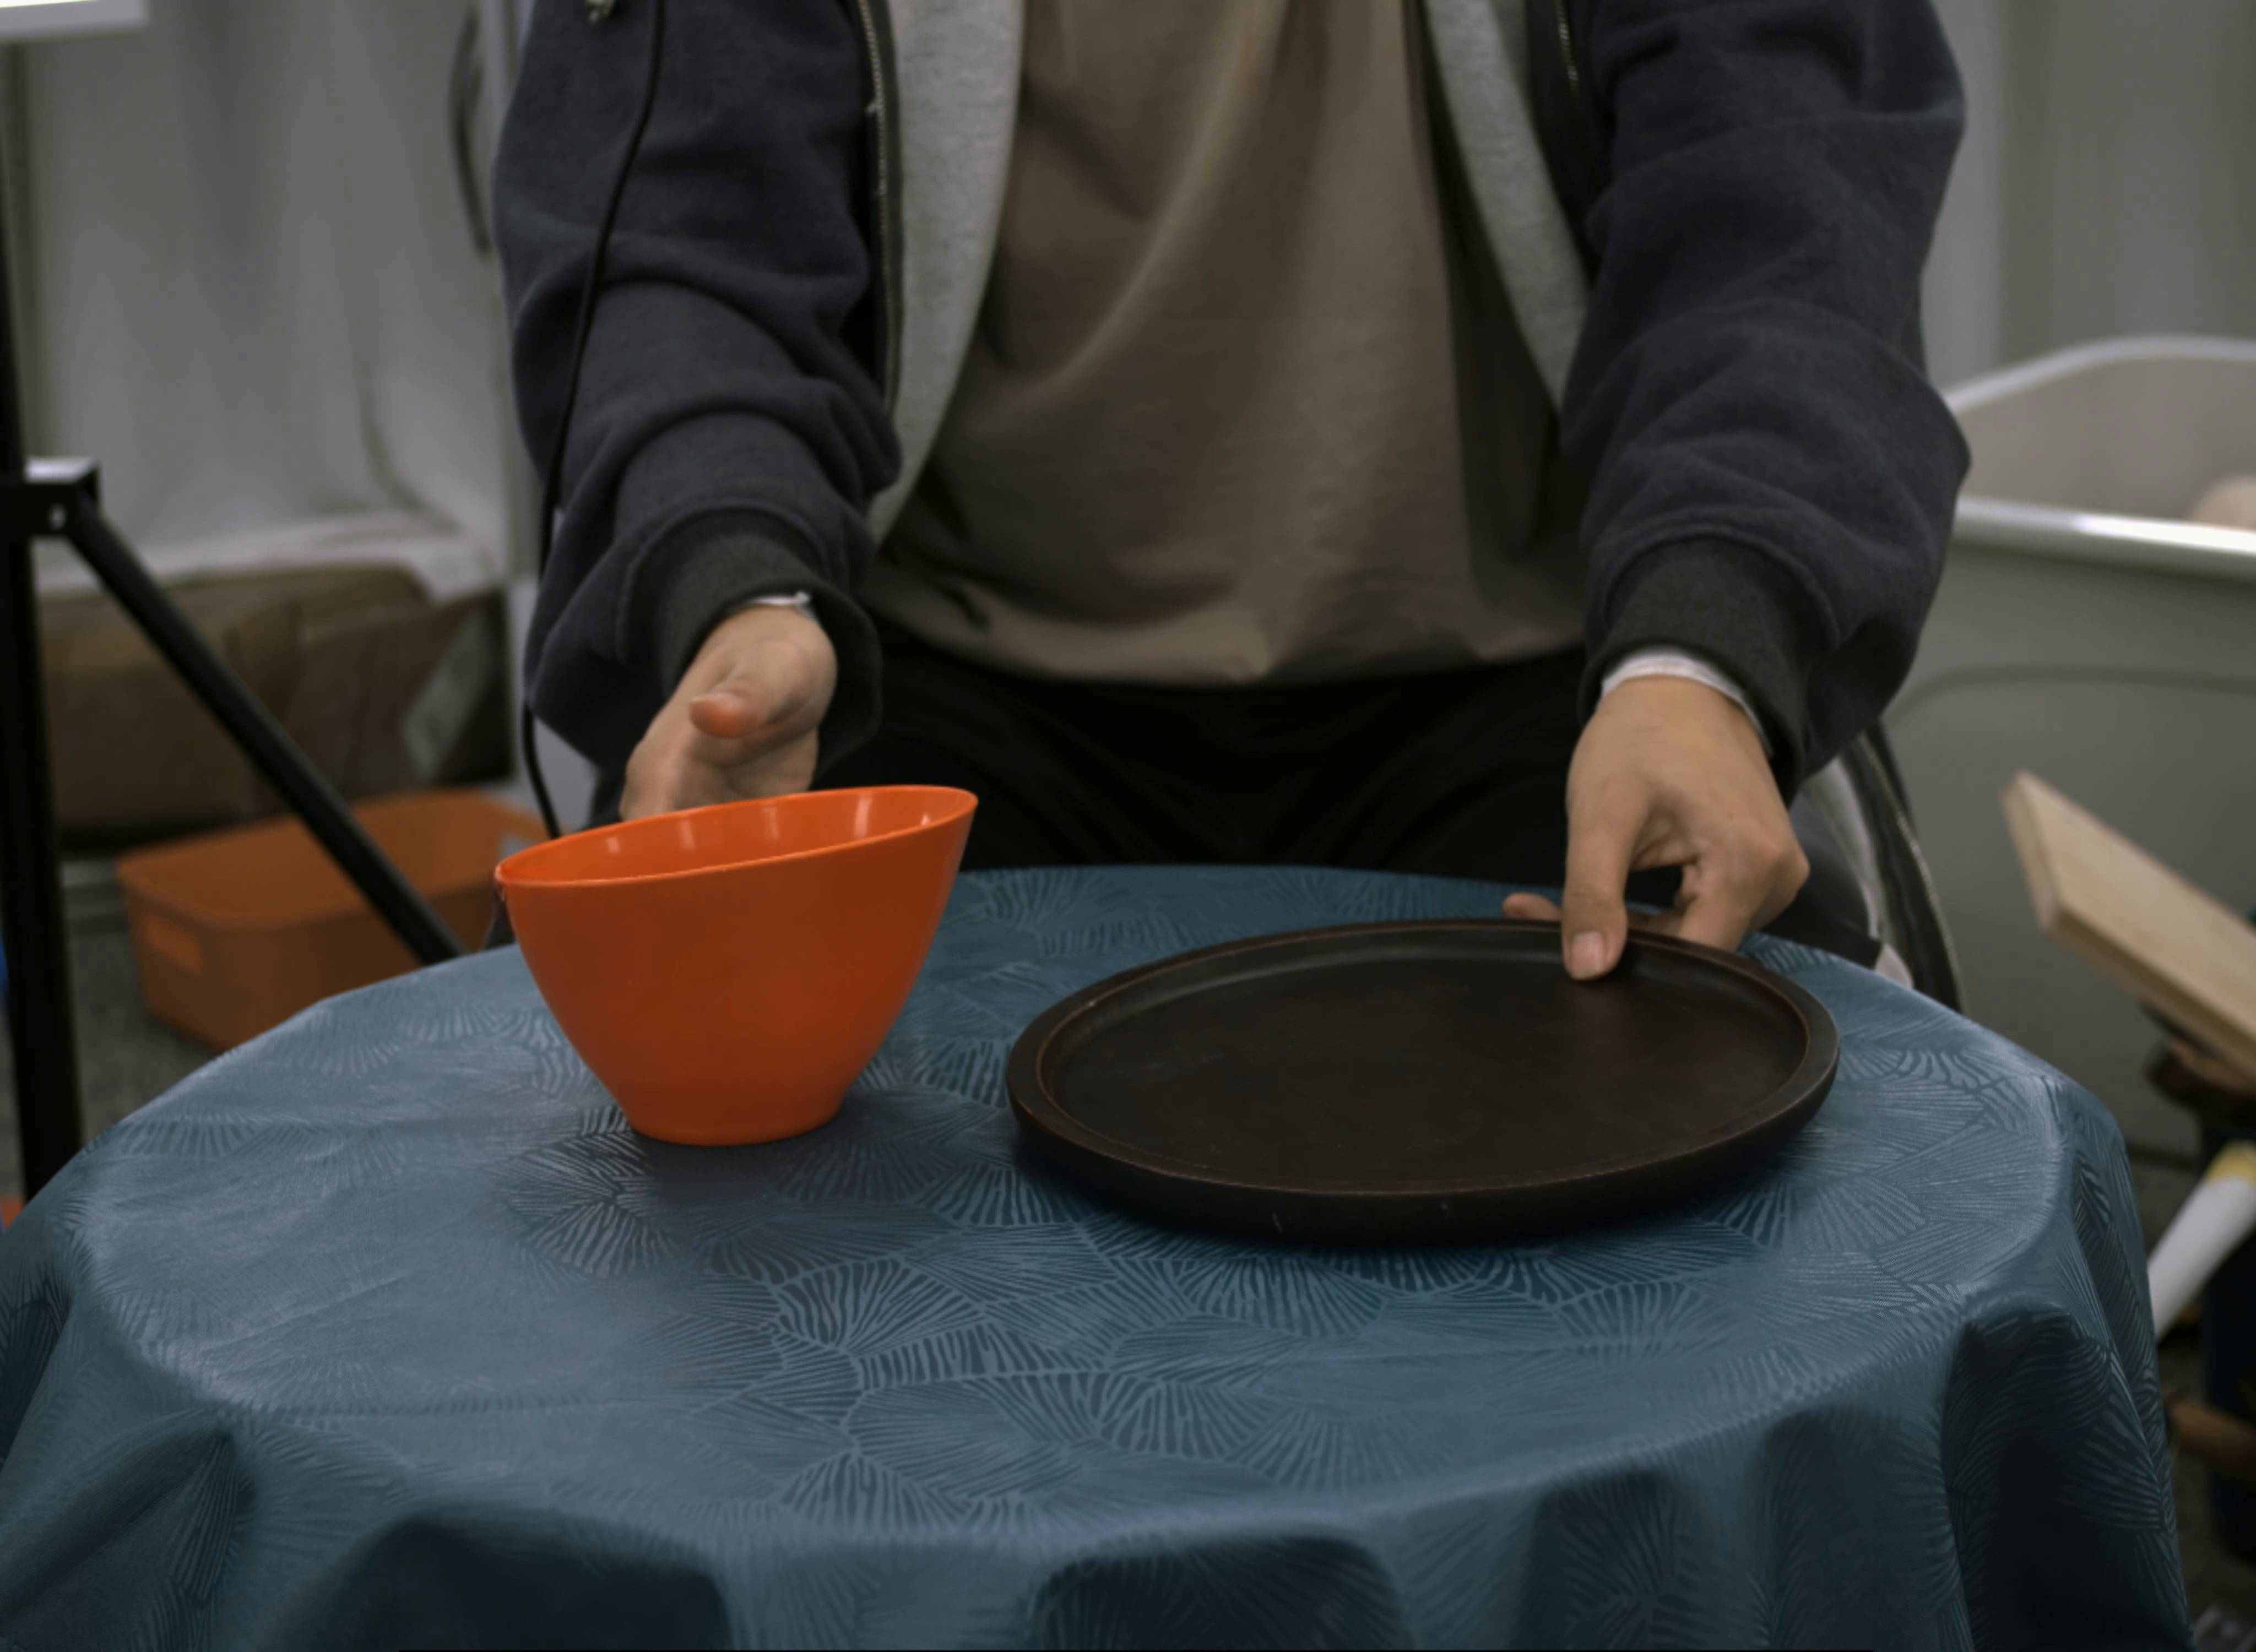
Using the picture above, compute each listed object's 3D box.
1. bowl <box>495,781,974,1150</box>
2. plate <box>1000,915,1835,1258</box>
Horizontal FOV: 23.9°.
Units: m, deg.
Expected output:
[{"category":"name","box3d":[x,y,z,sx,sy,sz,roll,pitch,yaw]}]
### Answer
[{"category":"bowl","box3d":[-0.117,0.042,1.628,0.147,0.104,0.149,-4,17,0]},{"category":"plate","box3d":[0.088,0.077,1.607,0.253,0.029,0.256,-5,17,0]}]
